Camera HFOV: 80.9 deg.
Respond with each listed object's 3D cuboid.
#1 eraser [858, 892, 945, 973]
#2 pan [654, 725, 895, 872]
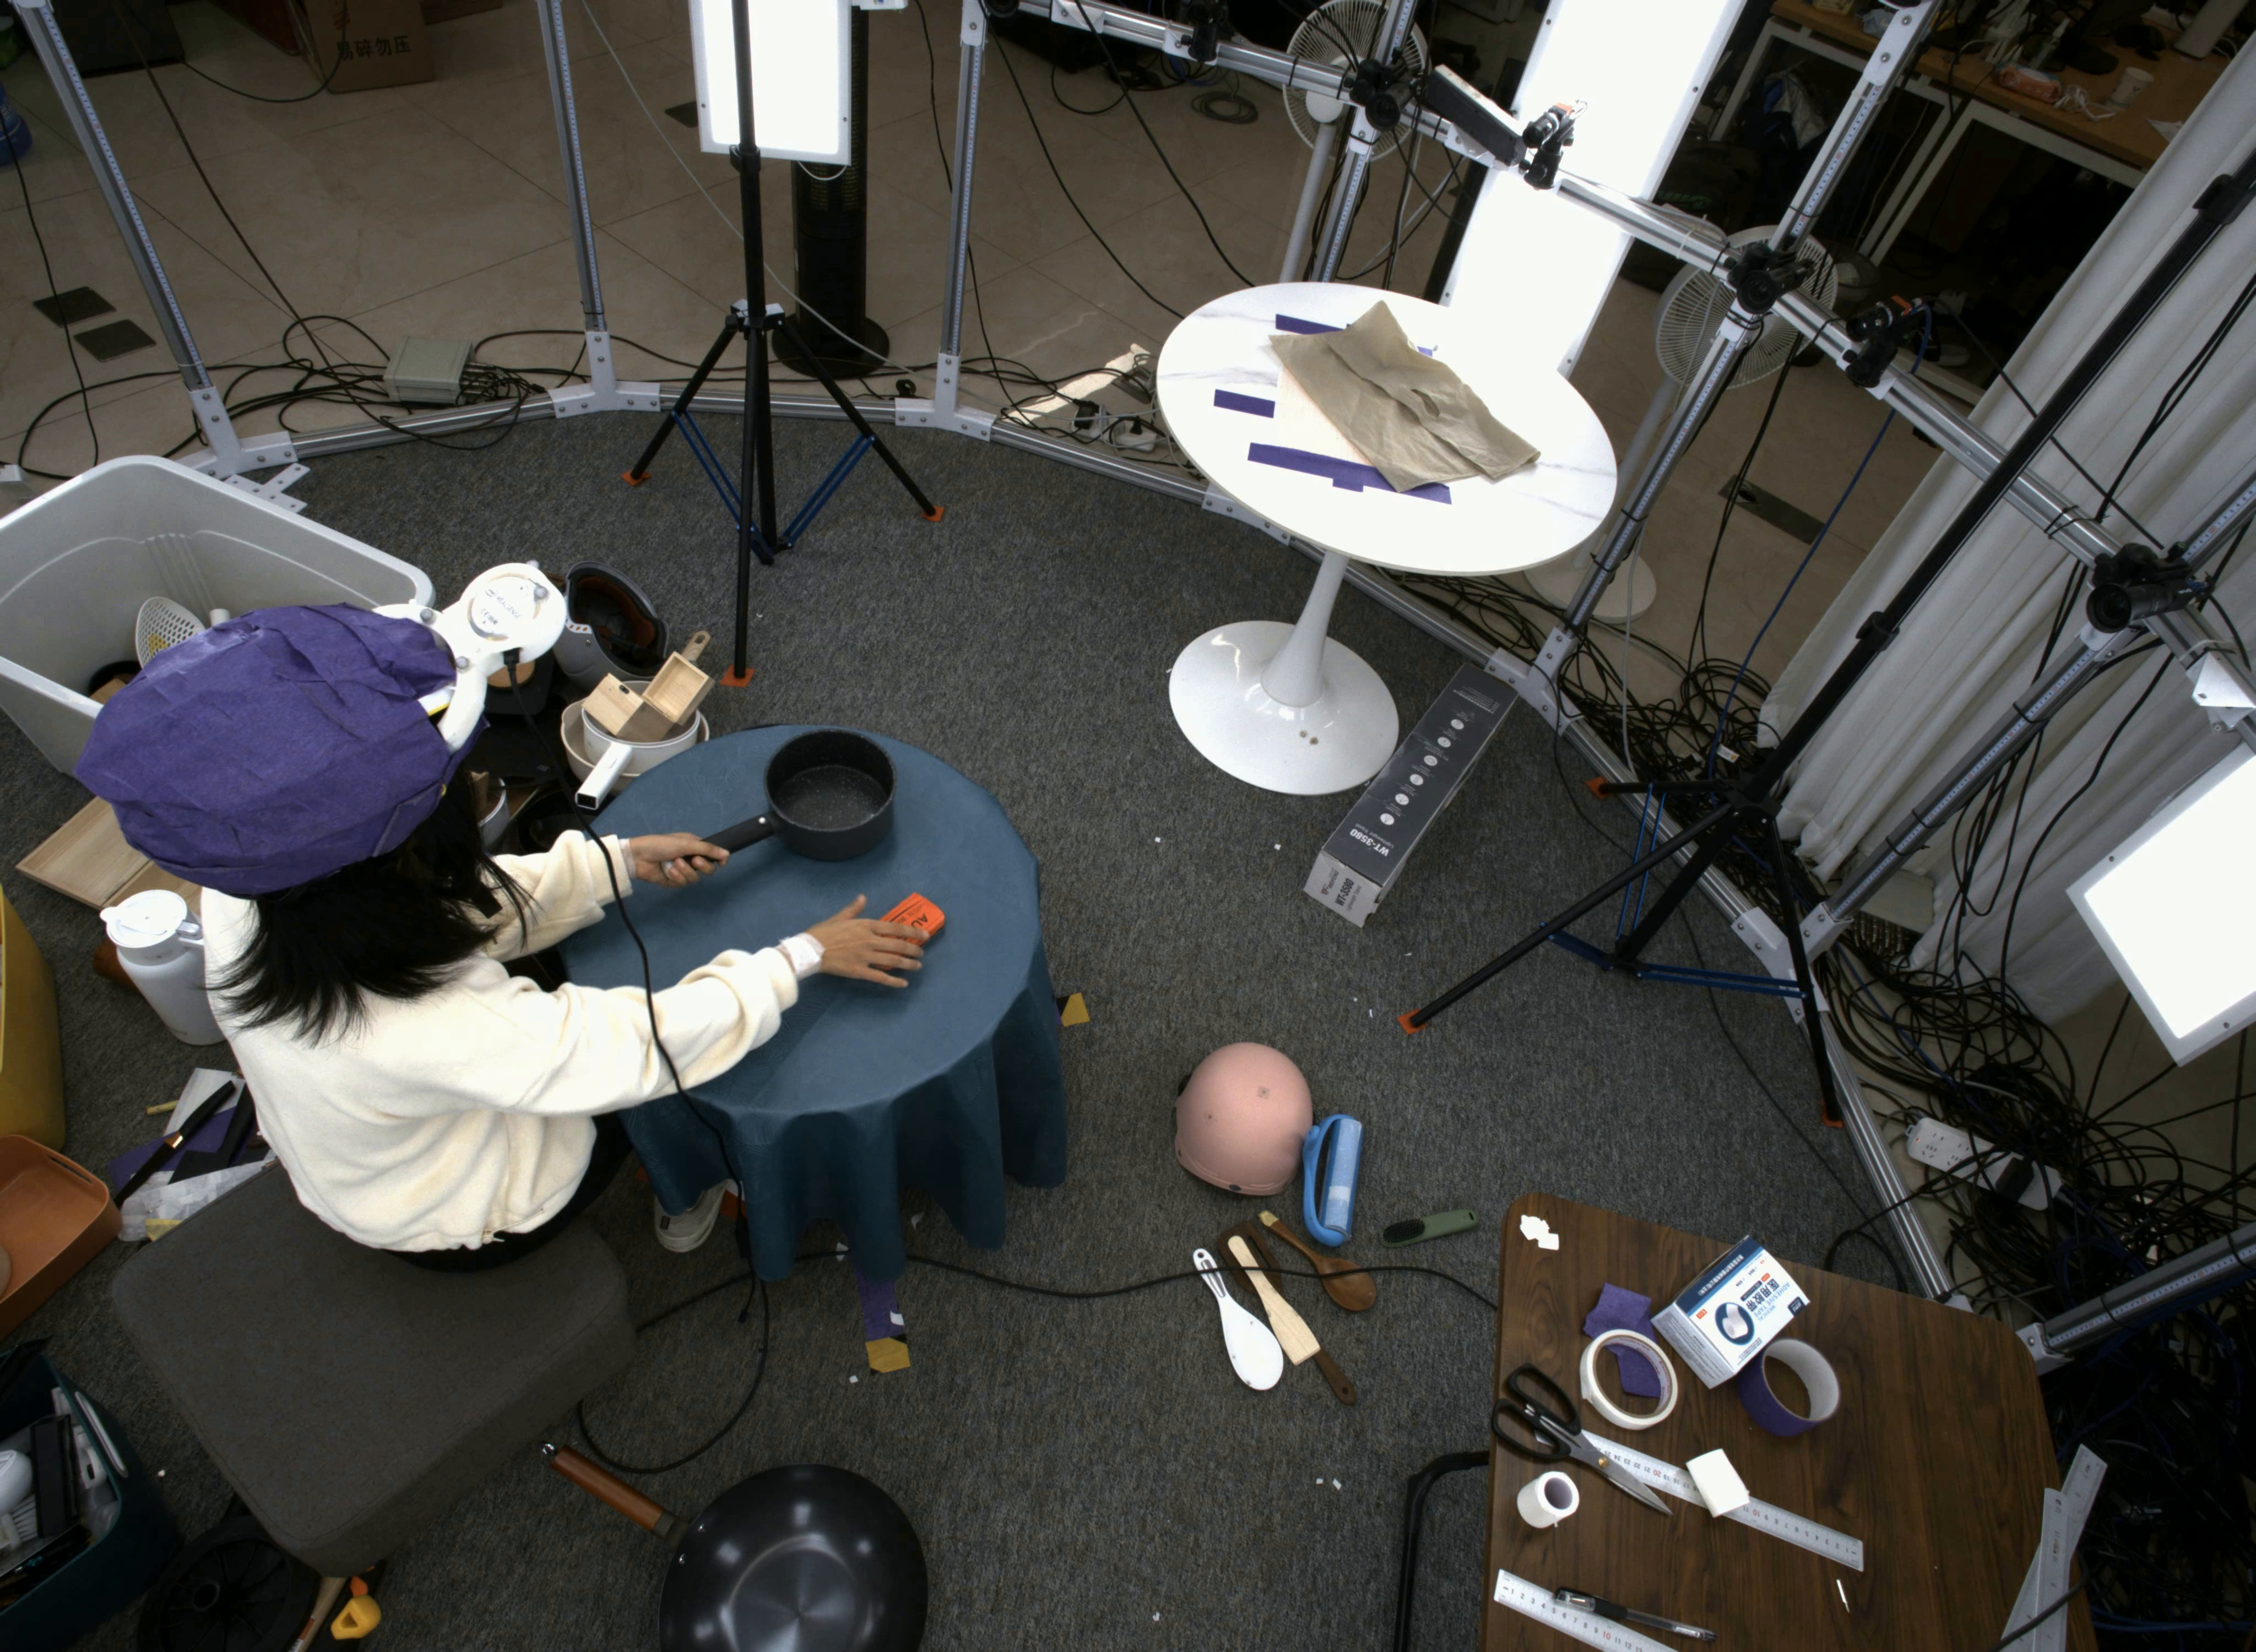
[{"bbox_3d":[-0.286,0.132,1.642,0.058,0.023,0.108,40,54,14],"label":"eraser"},{"bbox_3d":[-0.451,-0.009,1.664,0.330,0.088,0.168,-31,66,-32],"label":"pan"}]
